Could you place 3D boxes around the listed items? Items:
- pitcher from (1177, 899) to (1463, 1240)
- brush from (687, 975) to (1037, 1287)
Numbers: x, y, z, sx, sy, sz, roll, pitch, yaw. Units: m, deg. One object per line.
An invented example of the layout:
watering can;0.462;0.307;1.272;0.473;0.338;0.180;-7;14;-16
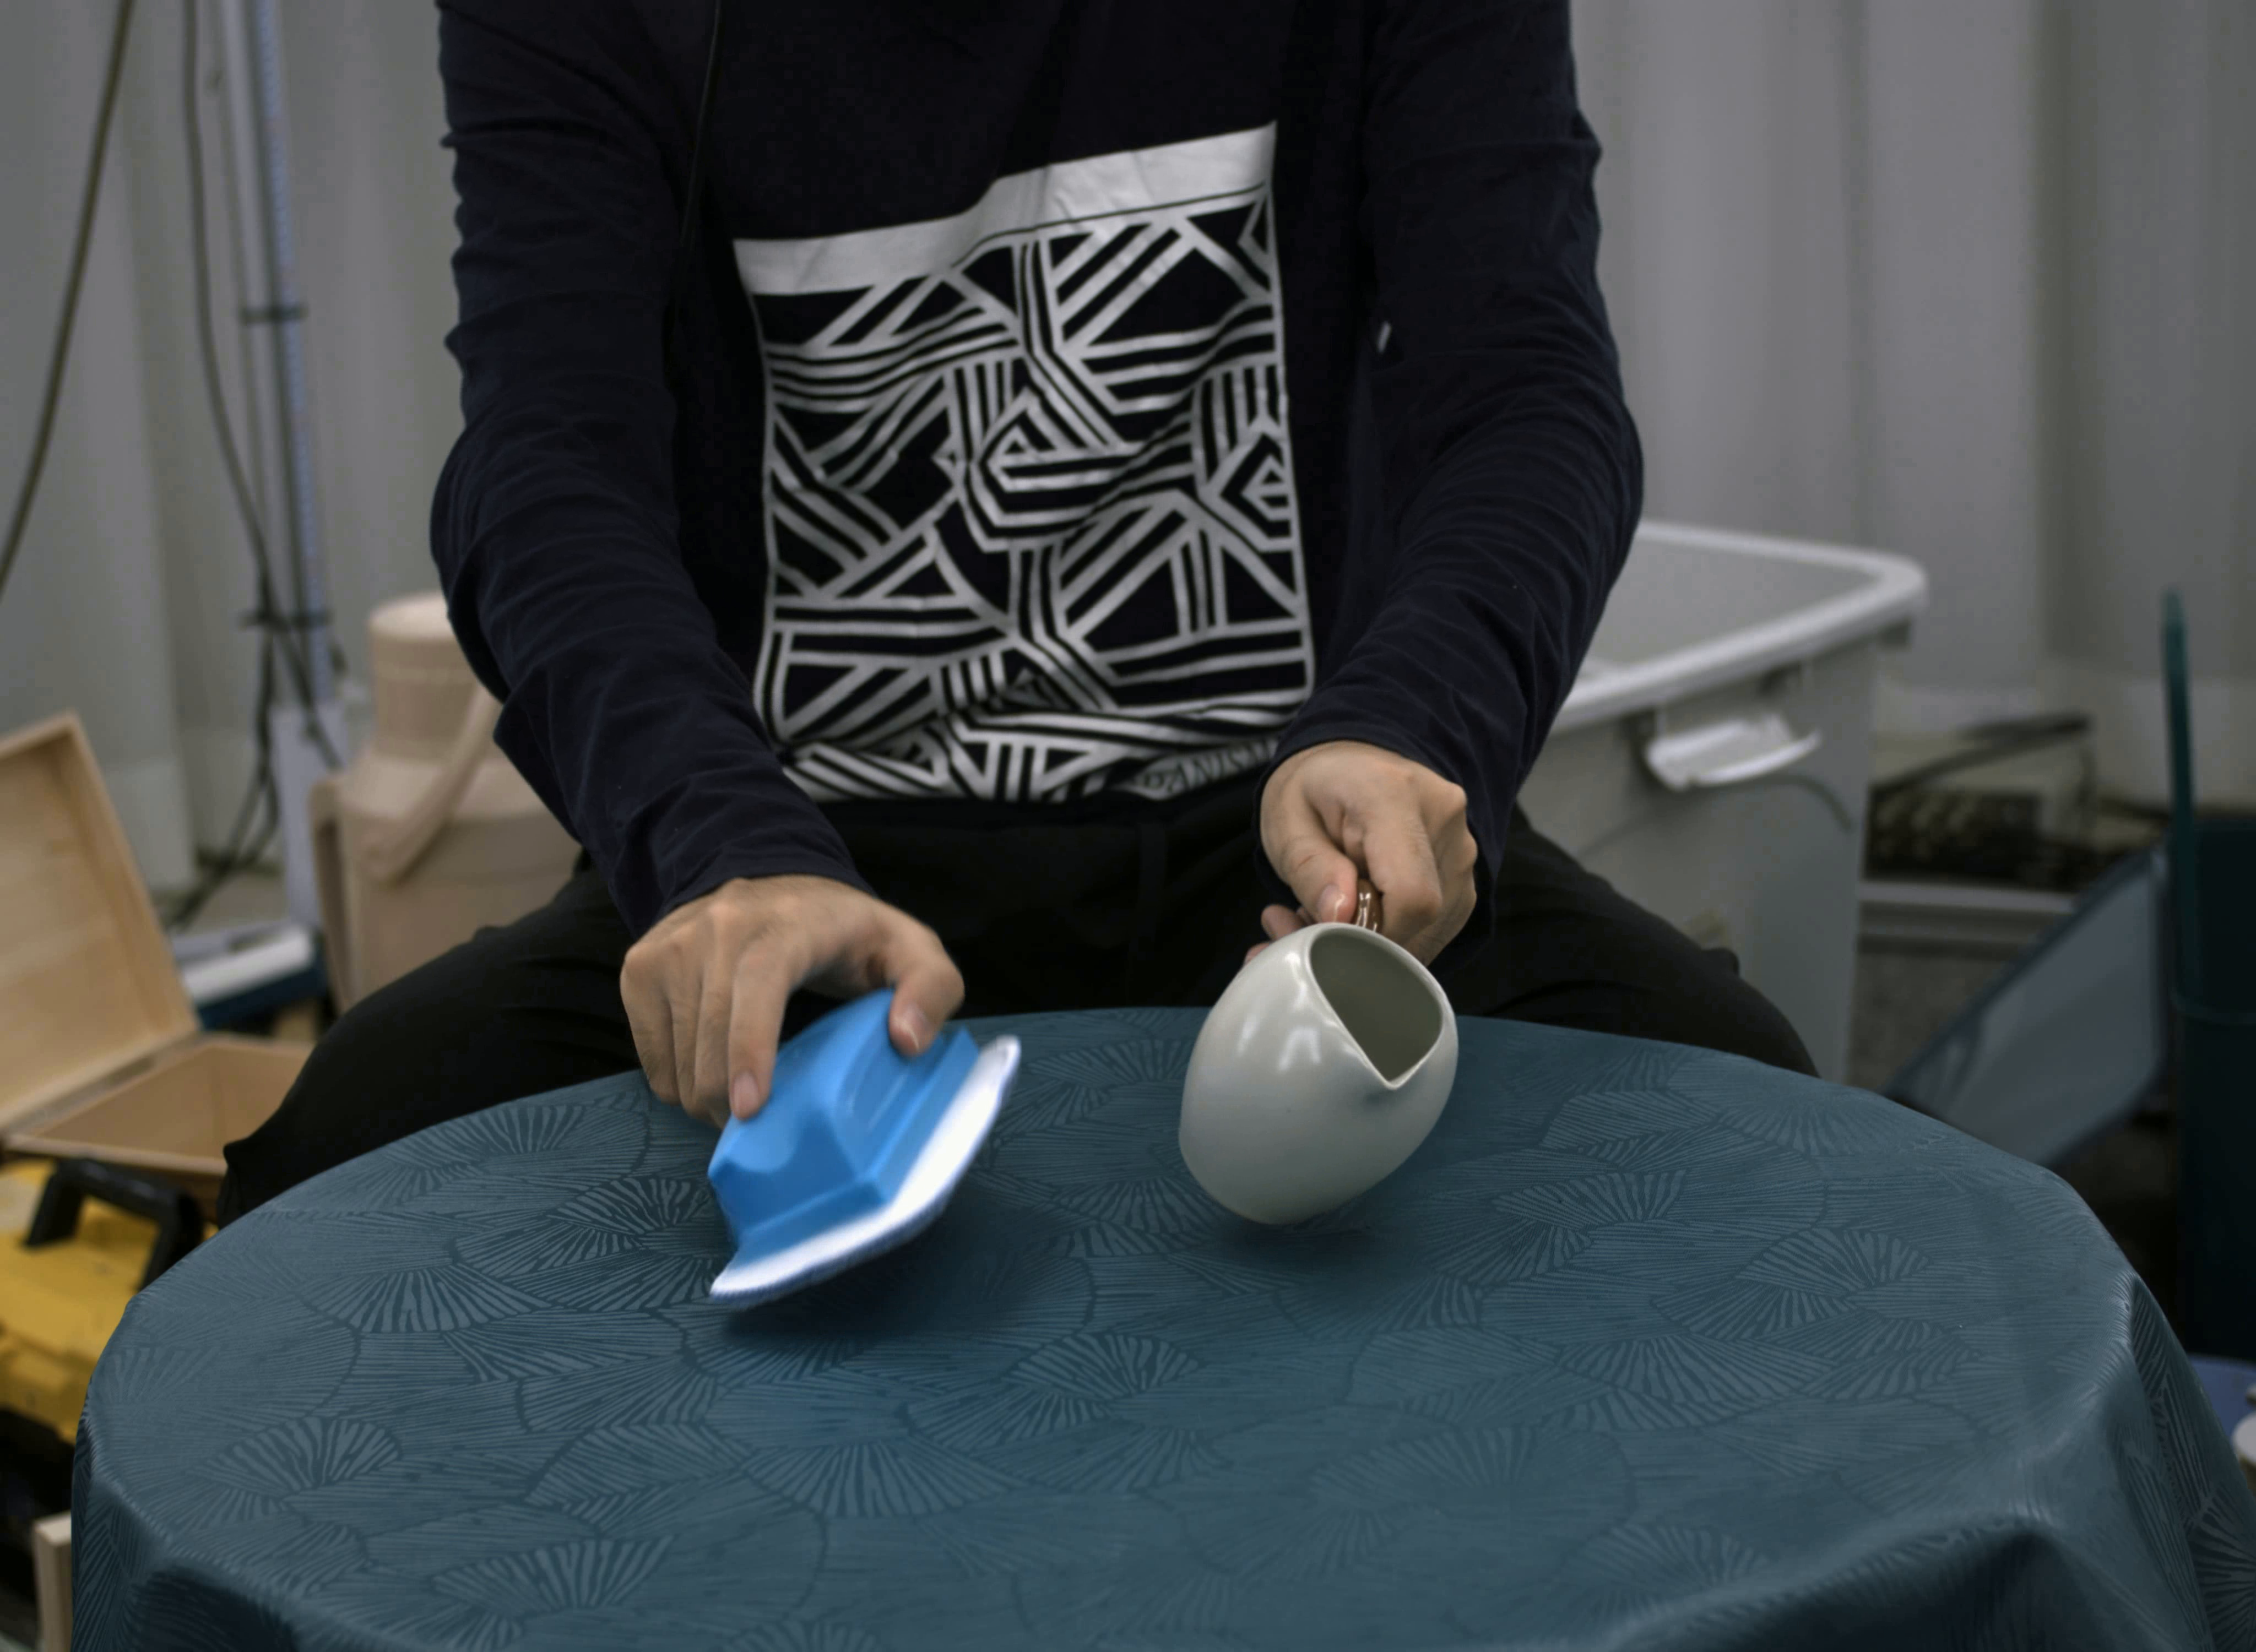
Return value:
pitcher;0.057;0.077;1.649;0.075;0.087;0.121;30;37;-13
brush;-0.085;0.089;1.656;0.083;0.056;0.145;-24;12;23
